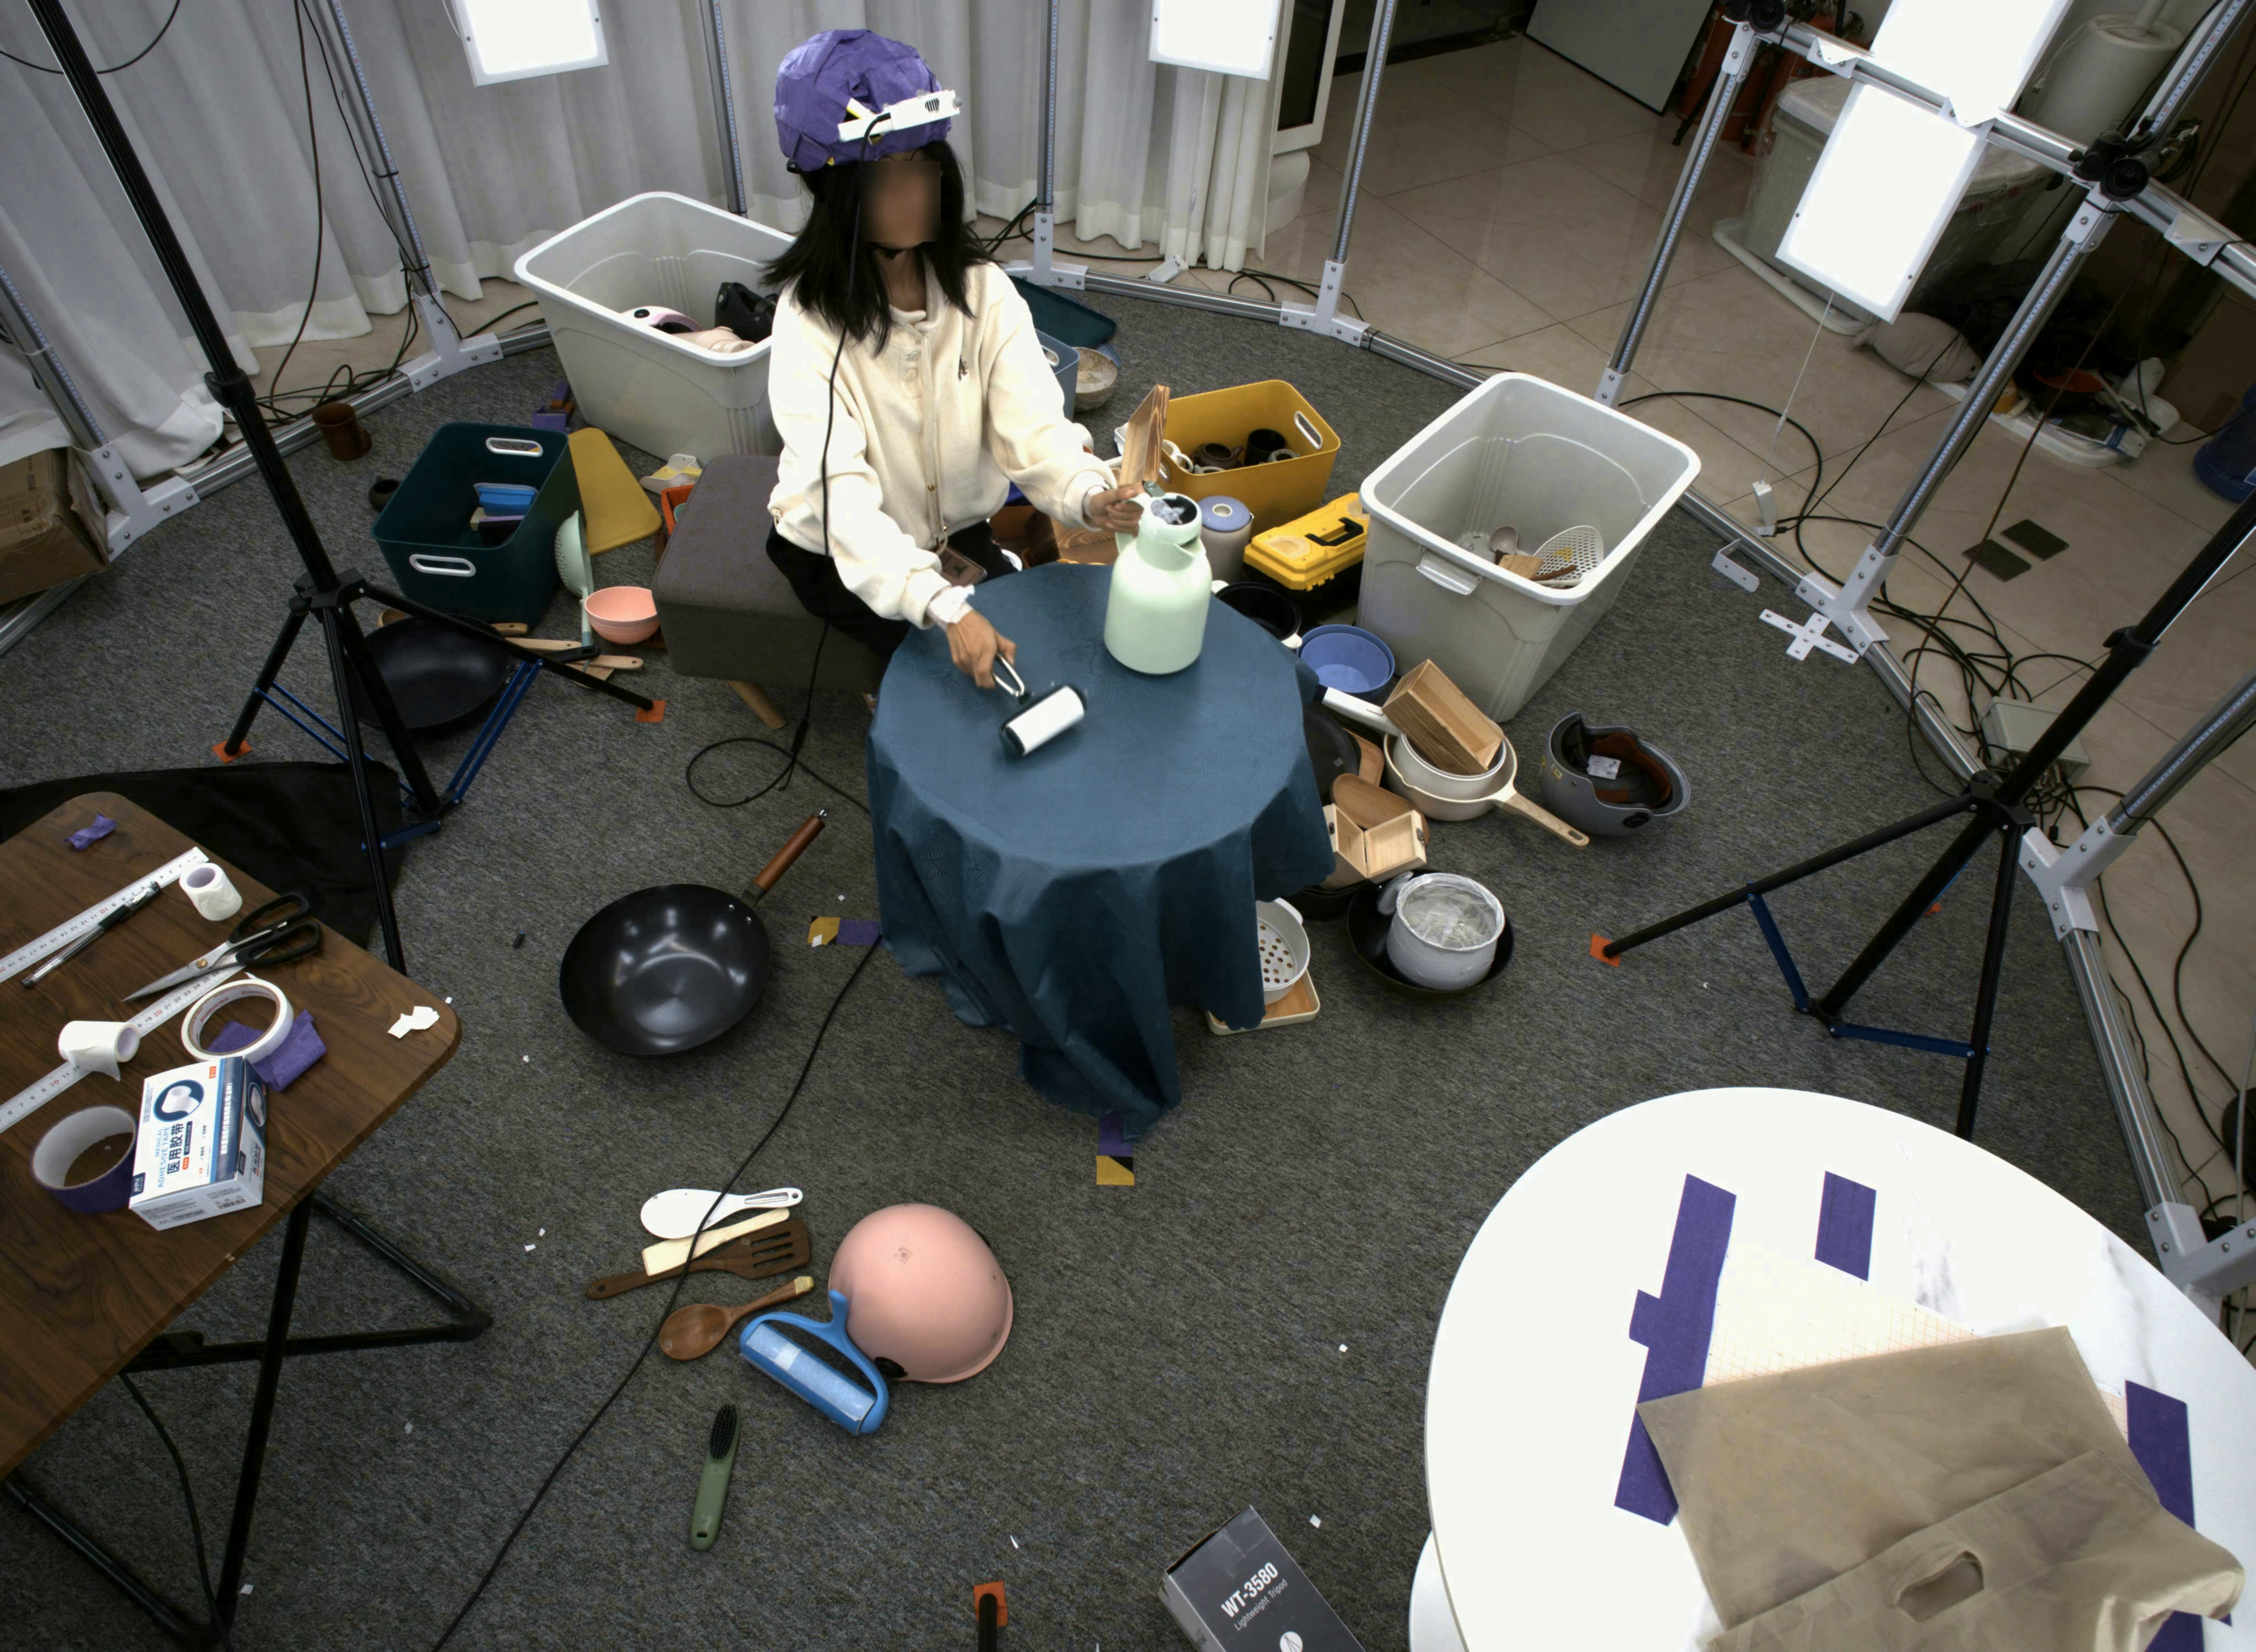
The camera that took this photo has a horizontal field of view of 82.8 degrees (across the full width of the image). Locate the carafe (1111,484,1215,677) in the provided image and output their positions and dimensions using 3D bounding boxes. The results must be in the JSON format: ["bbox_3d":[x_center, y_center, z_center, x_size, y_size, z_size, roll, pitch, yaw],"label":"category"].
[{"bbox_3d":[0.044,-0.352,1.815,0.145,0.250,0.191,-23,53,-21],"label":"carafe"}]

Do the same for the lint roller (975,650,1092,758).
[{"bbox_3d":[-0.154,-0.187,1.764,0.135,0.047,0.182,-31,70,-21],"label":"lint roller"}]
